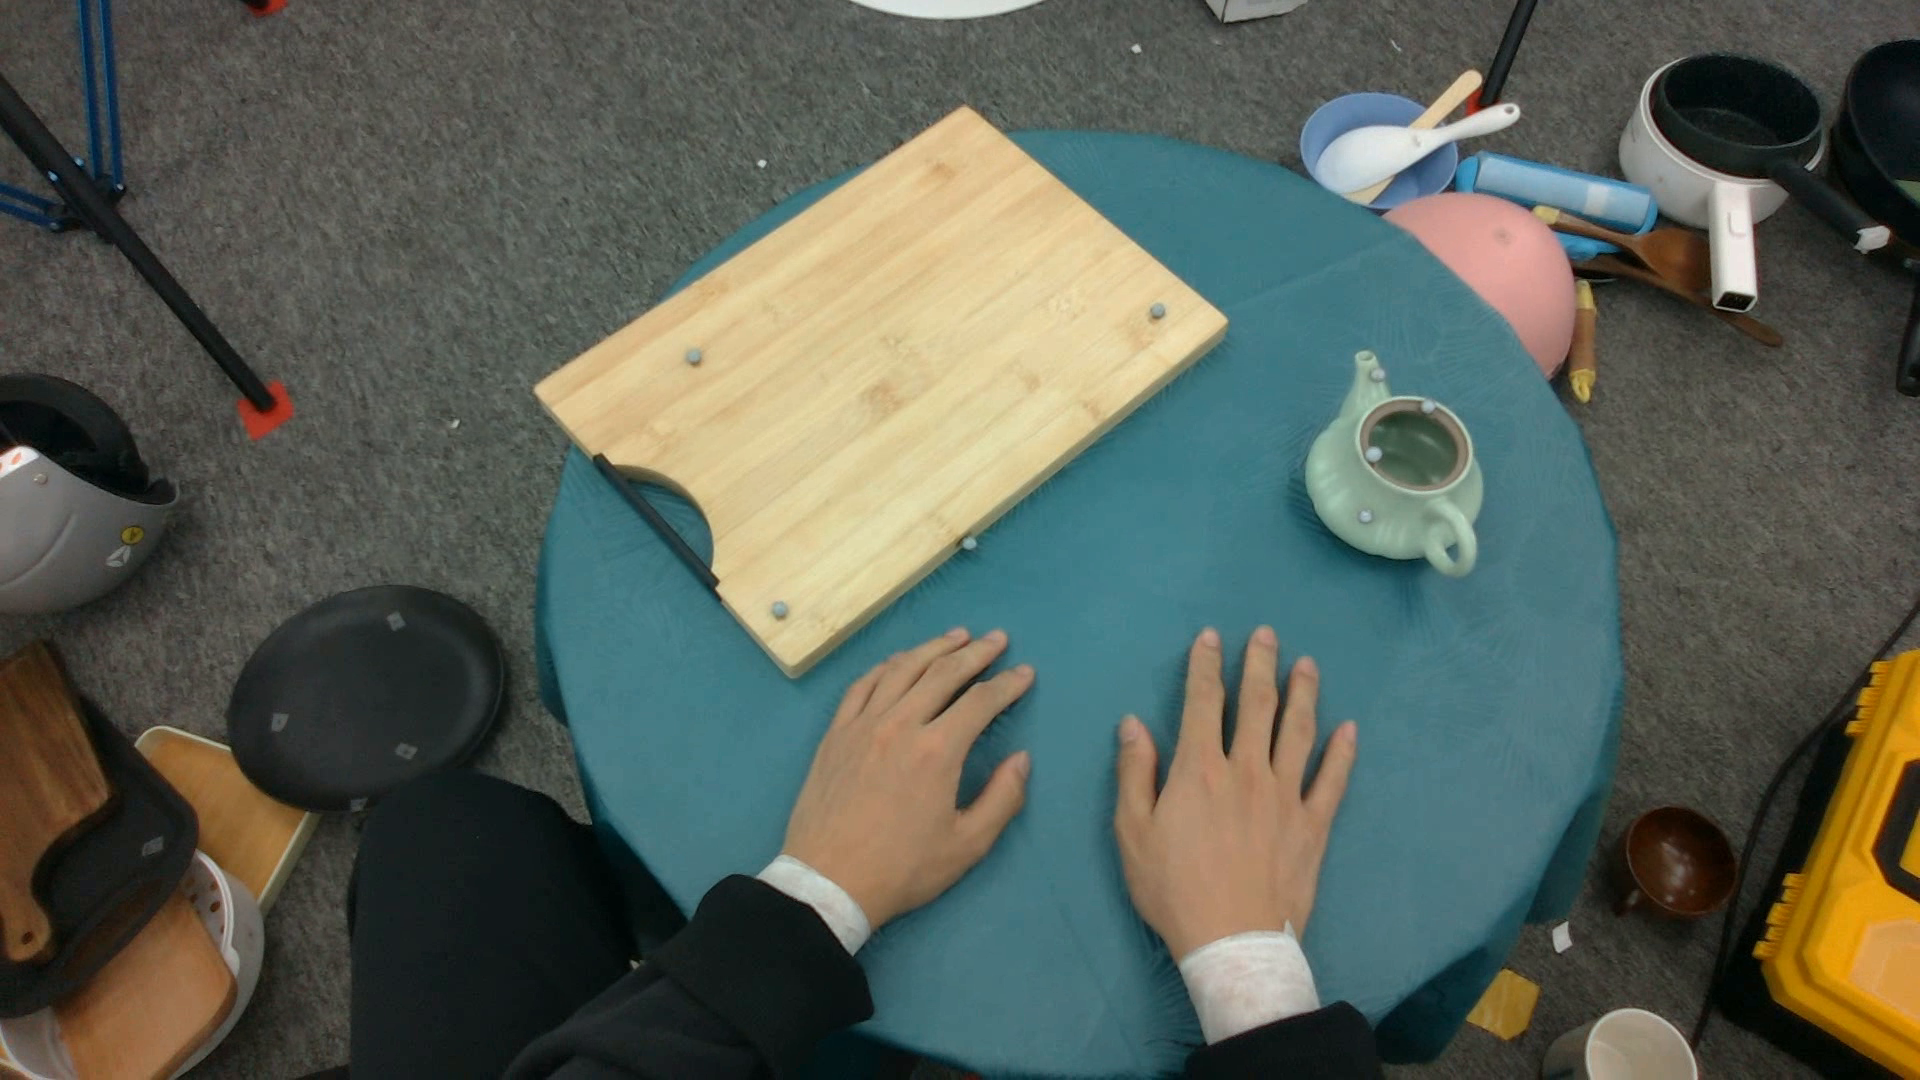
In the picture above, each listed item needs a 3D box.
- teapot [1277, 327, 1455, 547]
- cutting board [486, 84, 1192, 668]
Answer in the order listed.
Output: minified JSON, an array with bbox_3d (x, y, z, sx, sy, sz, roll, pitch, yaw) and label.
[{"bbox_3d":[0.230,-0.050,0.765,0.096,0.061,0.137,-18,64,-12],"label":"teapot"},{"bbox_3d":[-0.065,-0.115,0.818,0.350,0.023,0.251,-40,70,-20],"label":"cutting board"}]
